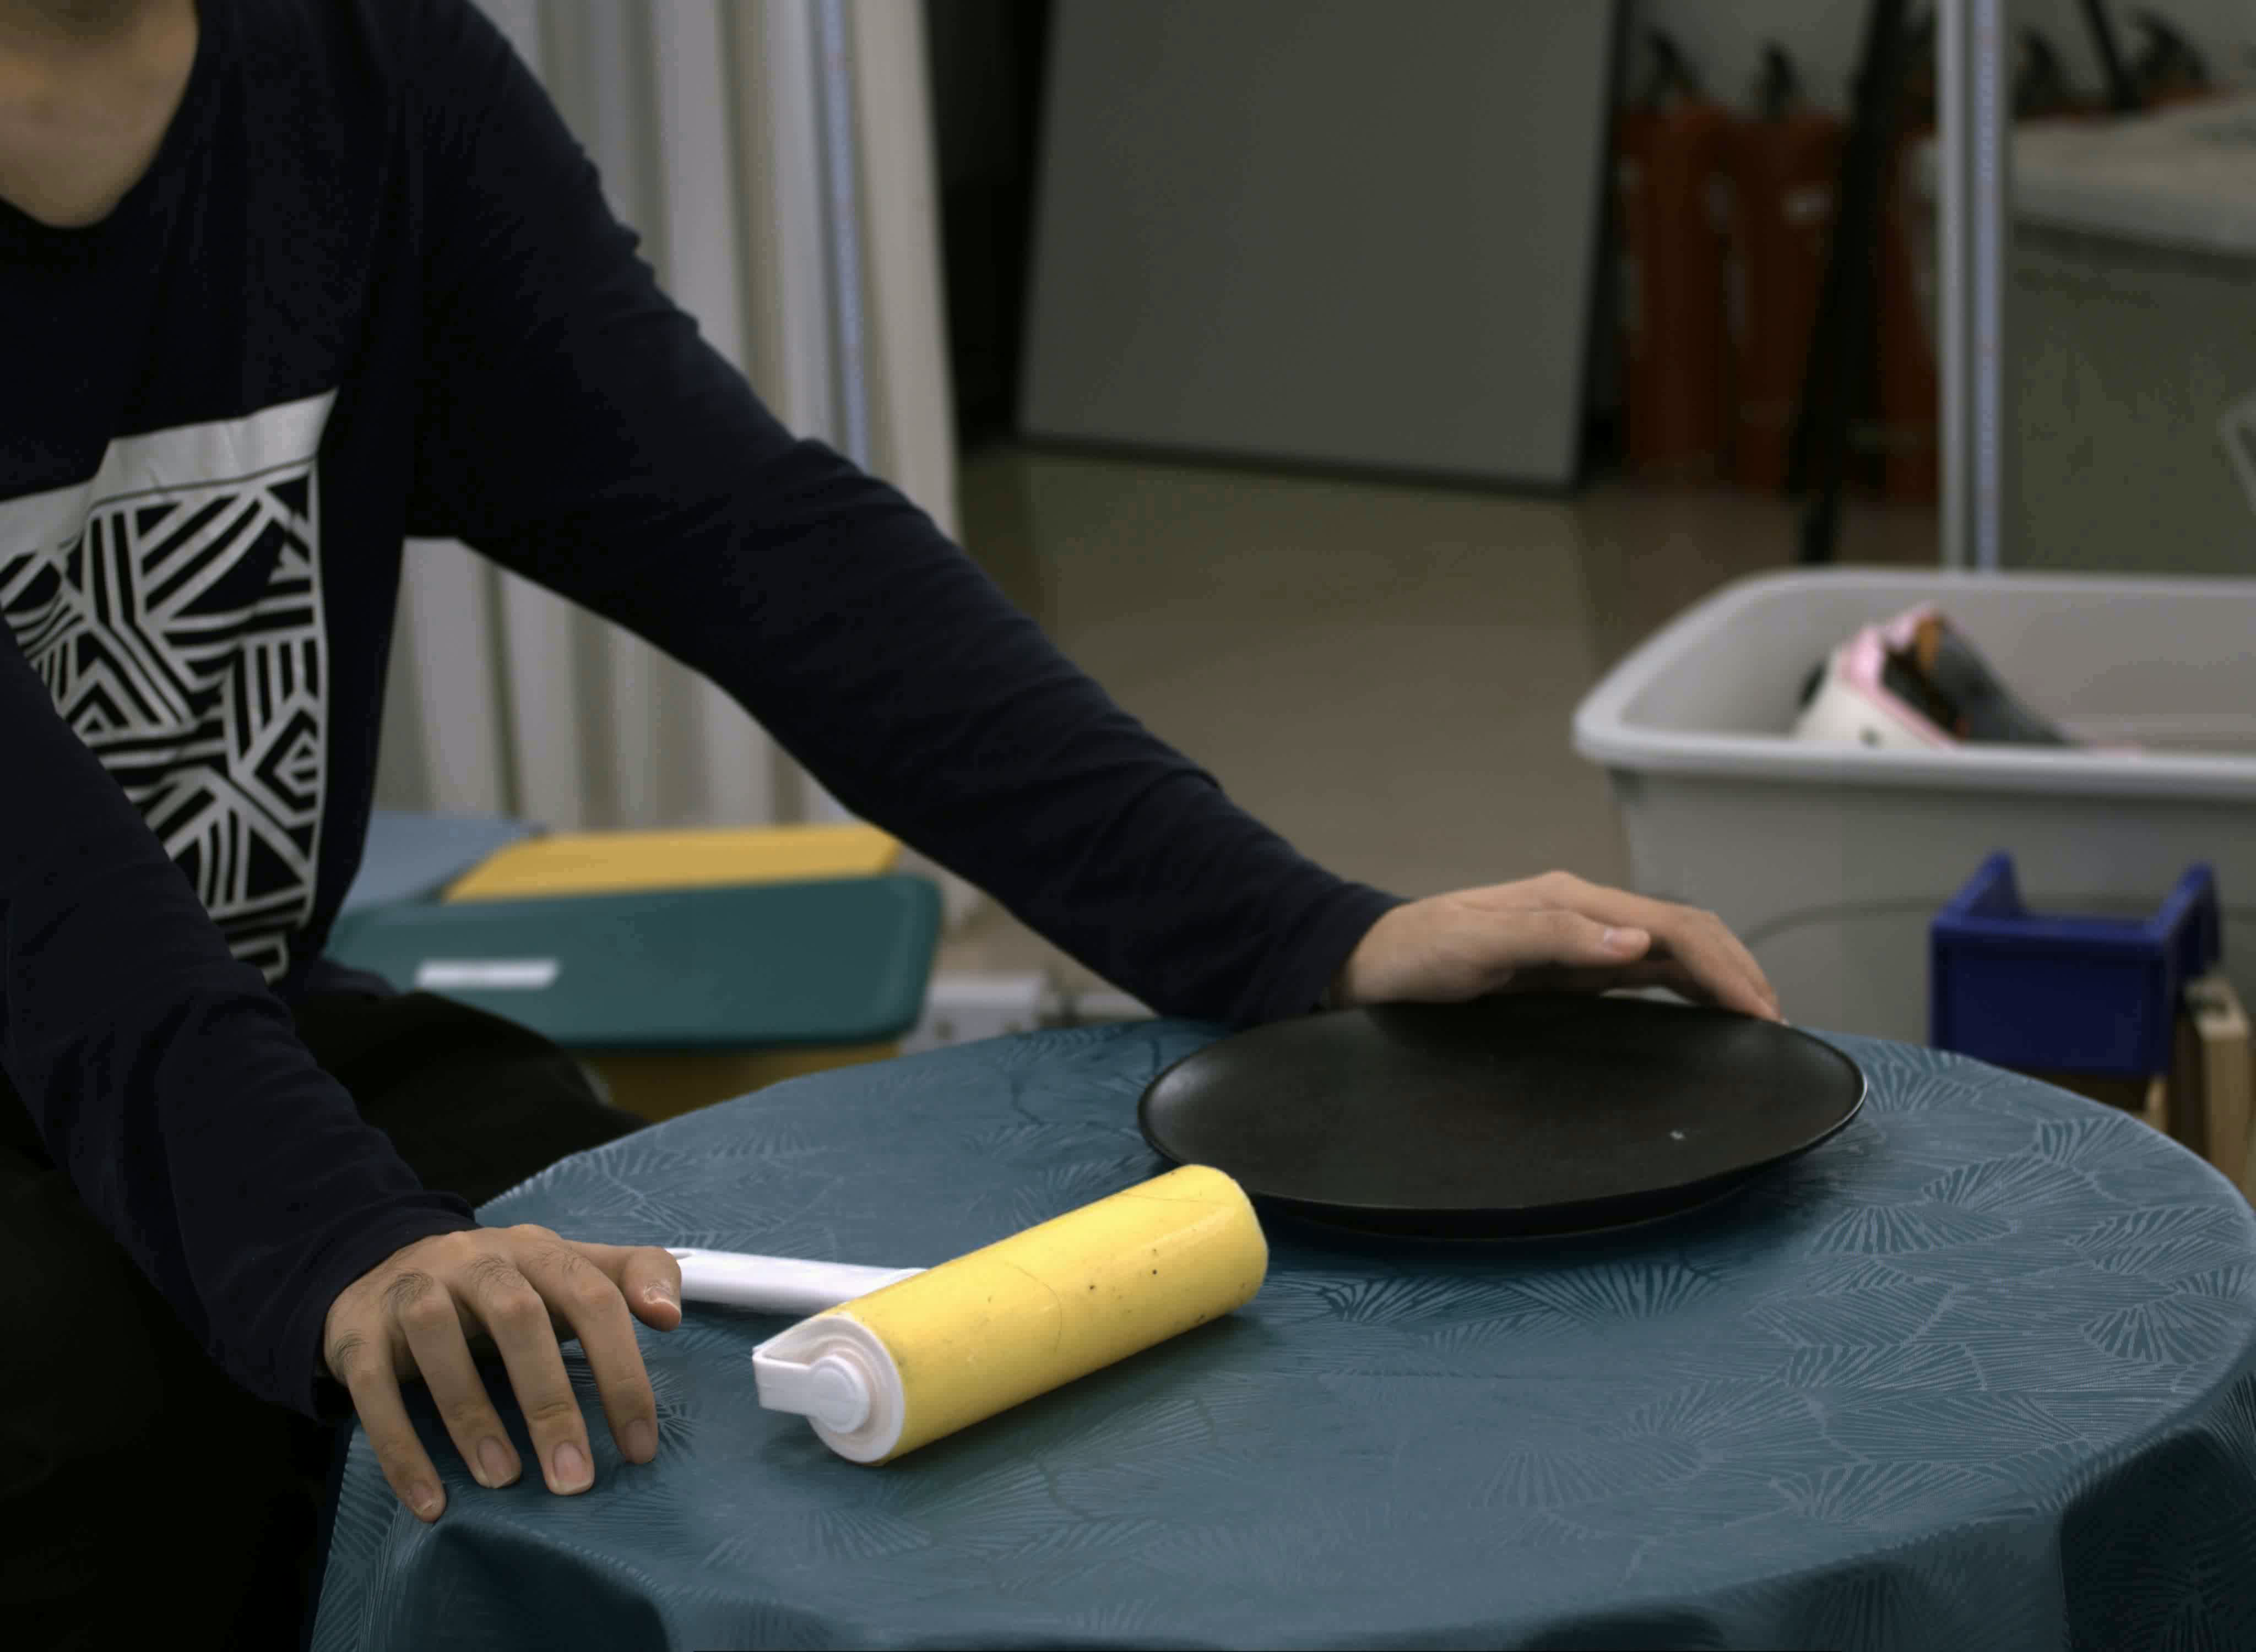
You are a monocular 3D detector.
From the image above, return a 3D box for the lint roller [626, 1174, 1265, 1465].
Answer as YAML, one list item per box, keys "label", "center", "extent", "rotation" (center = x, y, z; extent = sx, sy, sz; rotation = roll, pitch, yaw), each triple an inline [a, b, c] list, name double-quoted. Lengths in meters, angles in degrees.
- label: "lint roller"
  center: [-0.081, 0.136, 1.638]
  extent: [0.193, 0.052, 0.171]
  rotation: [11, 19, 40]

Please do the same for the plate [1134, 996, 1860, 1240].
- label: "plate"
  center: [0.122, 0.099, 1.784]
  extent: [0.241, 0.024, 0.245]
  rotation: [-4, 14, 0]
